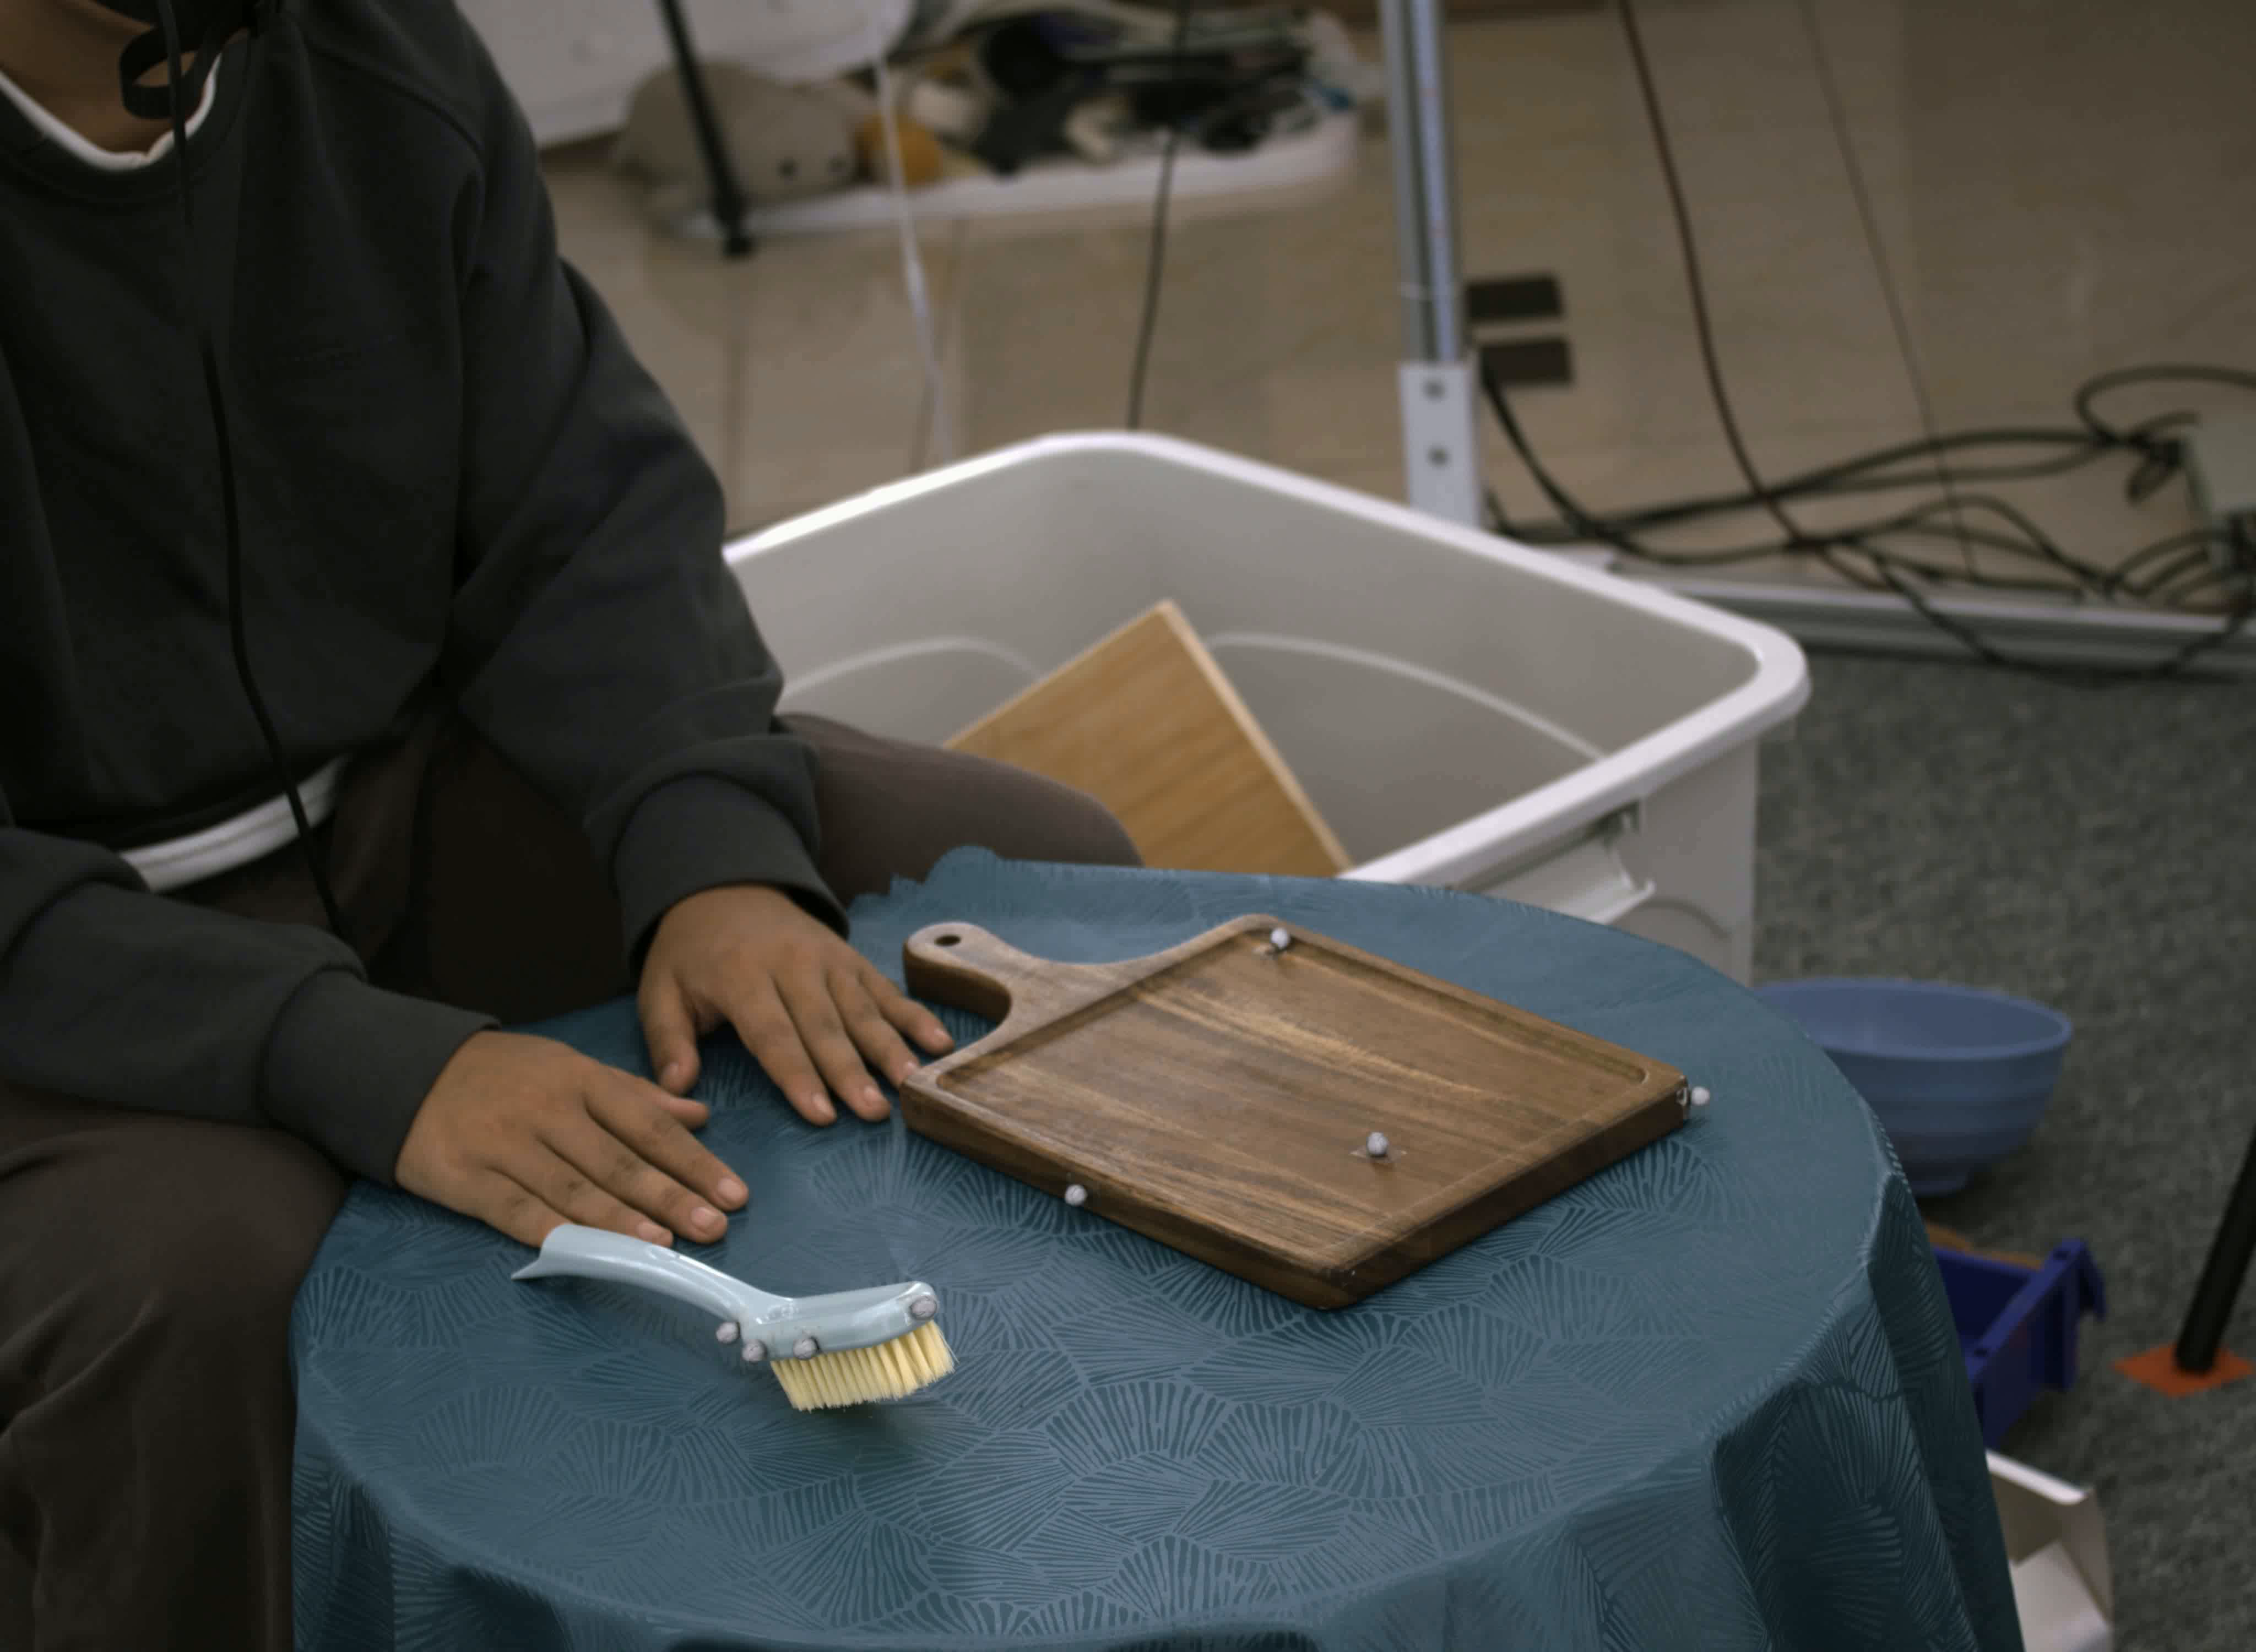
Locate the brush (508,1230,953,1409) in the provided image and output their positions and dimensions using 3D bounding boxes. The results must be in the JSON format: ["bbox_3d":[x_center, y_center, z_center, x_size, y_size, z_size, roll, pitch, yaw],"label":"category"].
[{"bbox_3d":[-0.148,0.179,2.061,0.228,0.050,0.037,5,24,44],"label":"brush"}]

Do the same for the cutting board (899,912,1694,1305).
[{"bbox_3d":[0.031,0.092,2.218,0.199,0.023,0.349,-25,30,-35],"label":"cutting board"}]
